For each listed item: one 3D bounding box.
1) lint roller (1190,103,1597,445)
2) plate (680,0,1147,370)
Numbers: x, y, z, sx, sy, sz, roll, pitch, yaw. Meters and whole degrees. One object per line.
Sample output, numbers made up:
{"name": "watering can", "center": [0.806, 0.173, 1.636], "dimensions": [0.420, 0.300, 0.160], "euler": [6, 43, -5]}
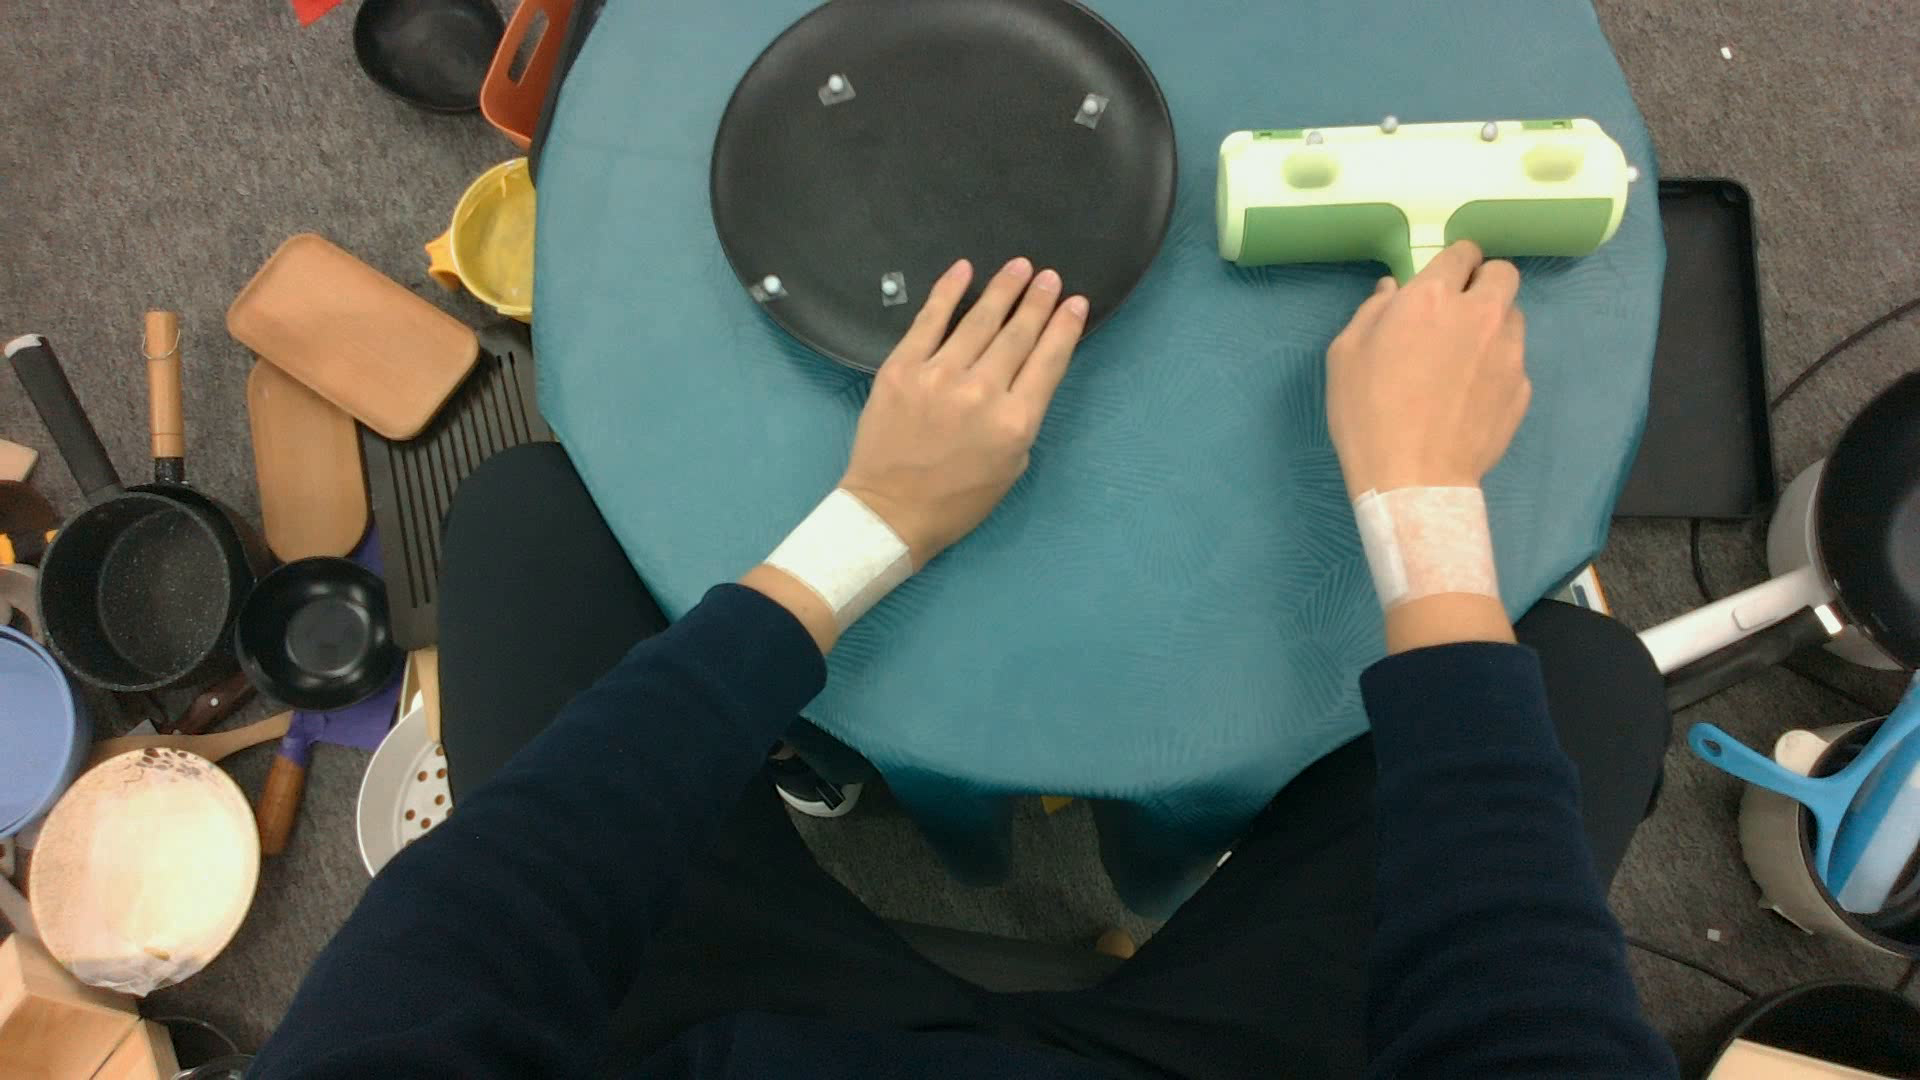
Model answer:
{"name": "lint roller", "center": [0.219, -0.141, 0.671], "dimensions": [0.198, 0.082, 0.184], "euler": [-2, 60, 2]}
{"name": "plate", "center": [-0.025, -0.199, 0.726], "dimensions": [0.244, 0.023, 0.245], "euler": [0, 74, 1]}
